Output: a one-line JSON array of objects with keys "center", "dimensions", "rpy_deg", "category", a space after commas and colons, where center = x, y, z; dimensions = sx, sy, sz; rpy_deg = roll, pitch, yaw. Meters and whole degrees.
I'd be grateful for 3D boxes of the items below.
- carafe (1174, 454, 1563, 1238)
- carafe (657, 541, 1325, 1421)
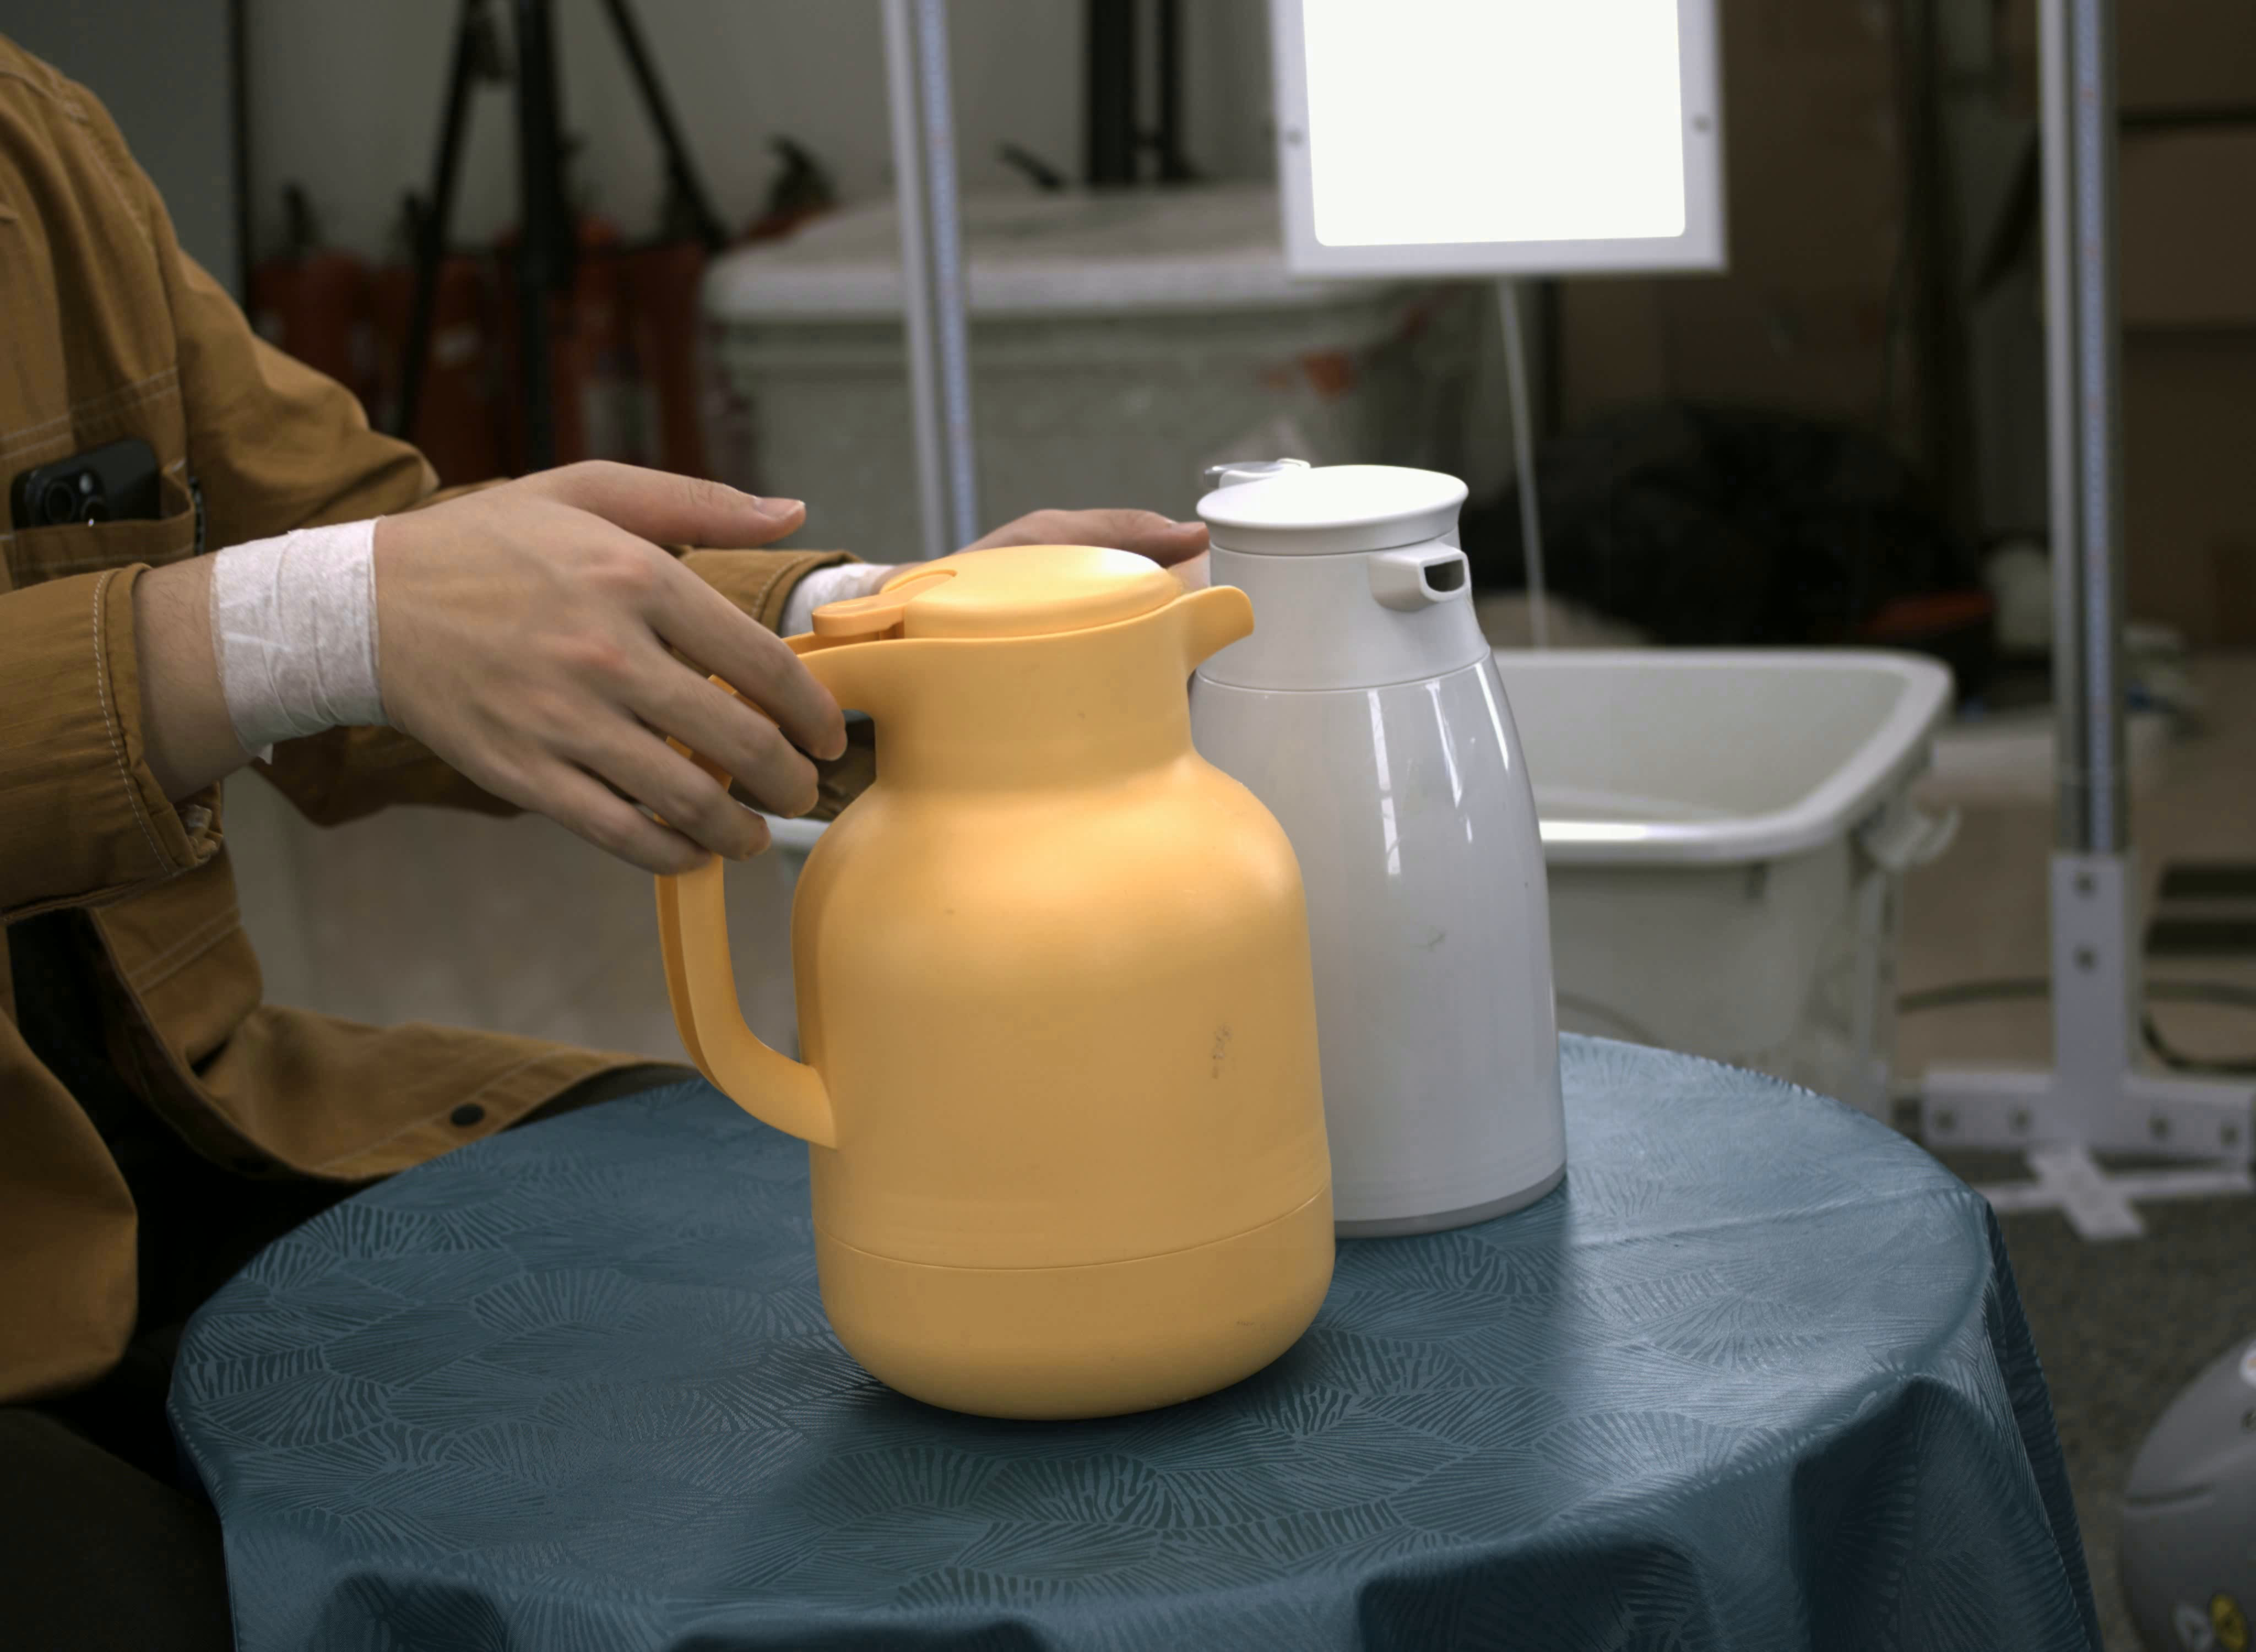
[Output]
[{"center": [0.064, -0.001, 1.874], "dimensions": [0.129, 0.249, 0.171], "rpy_deg": [-13, 16, -31], "category": "carafe"}, {"center": [-0.043, 0.046, 1.697], "dimensions": [0.199, 0.261, 0.165], "rpy_deg": [-7, 12, -17], "category": "carafe"}]
